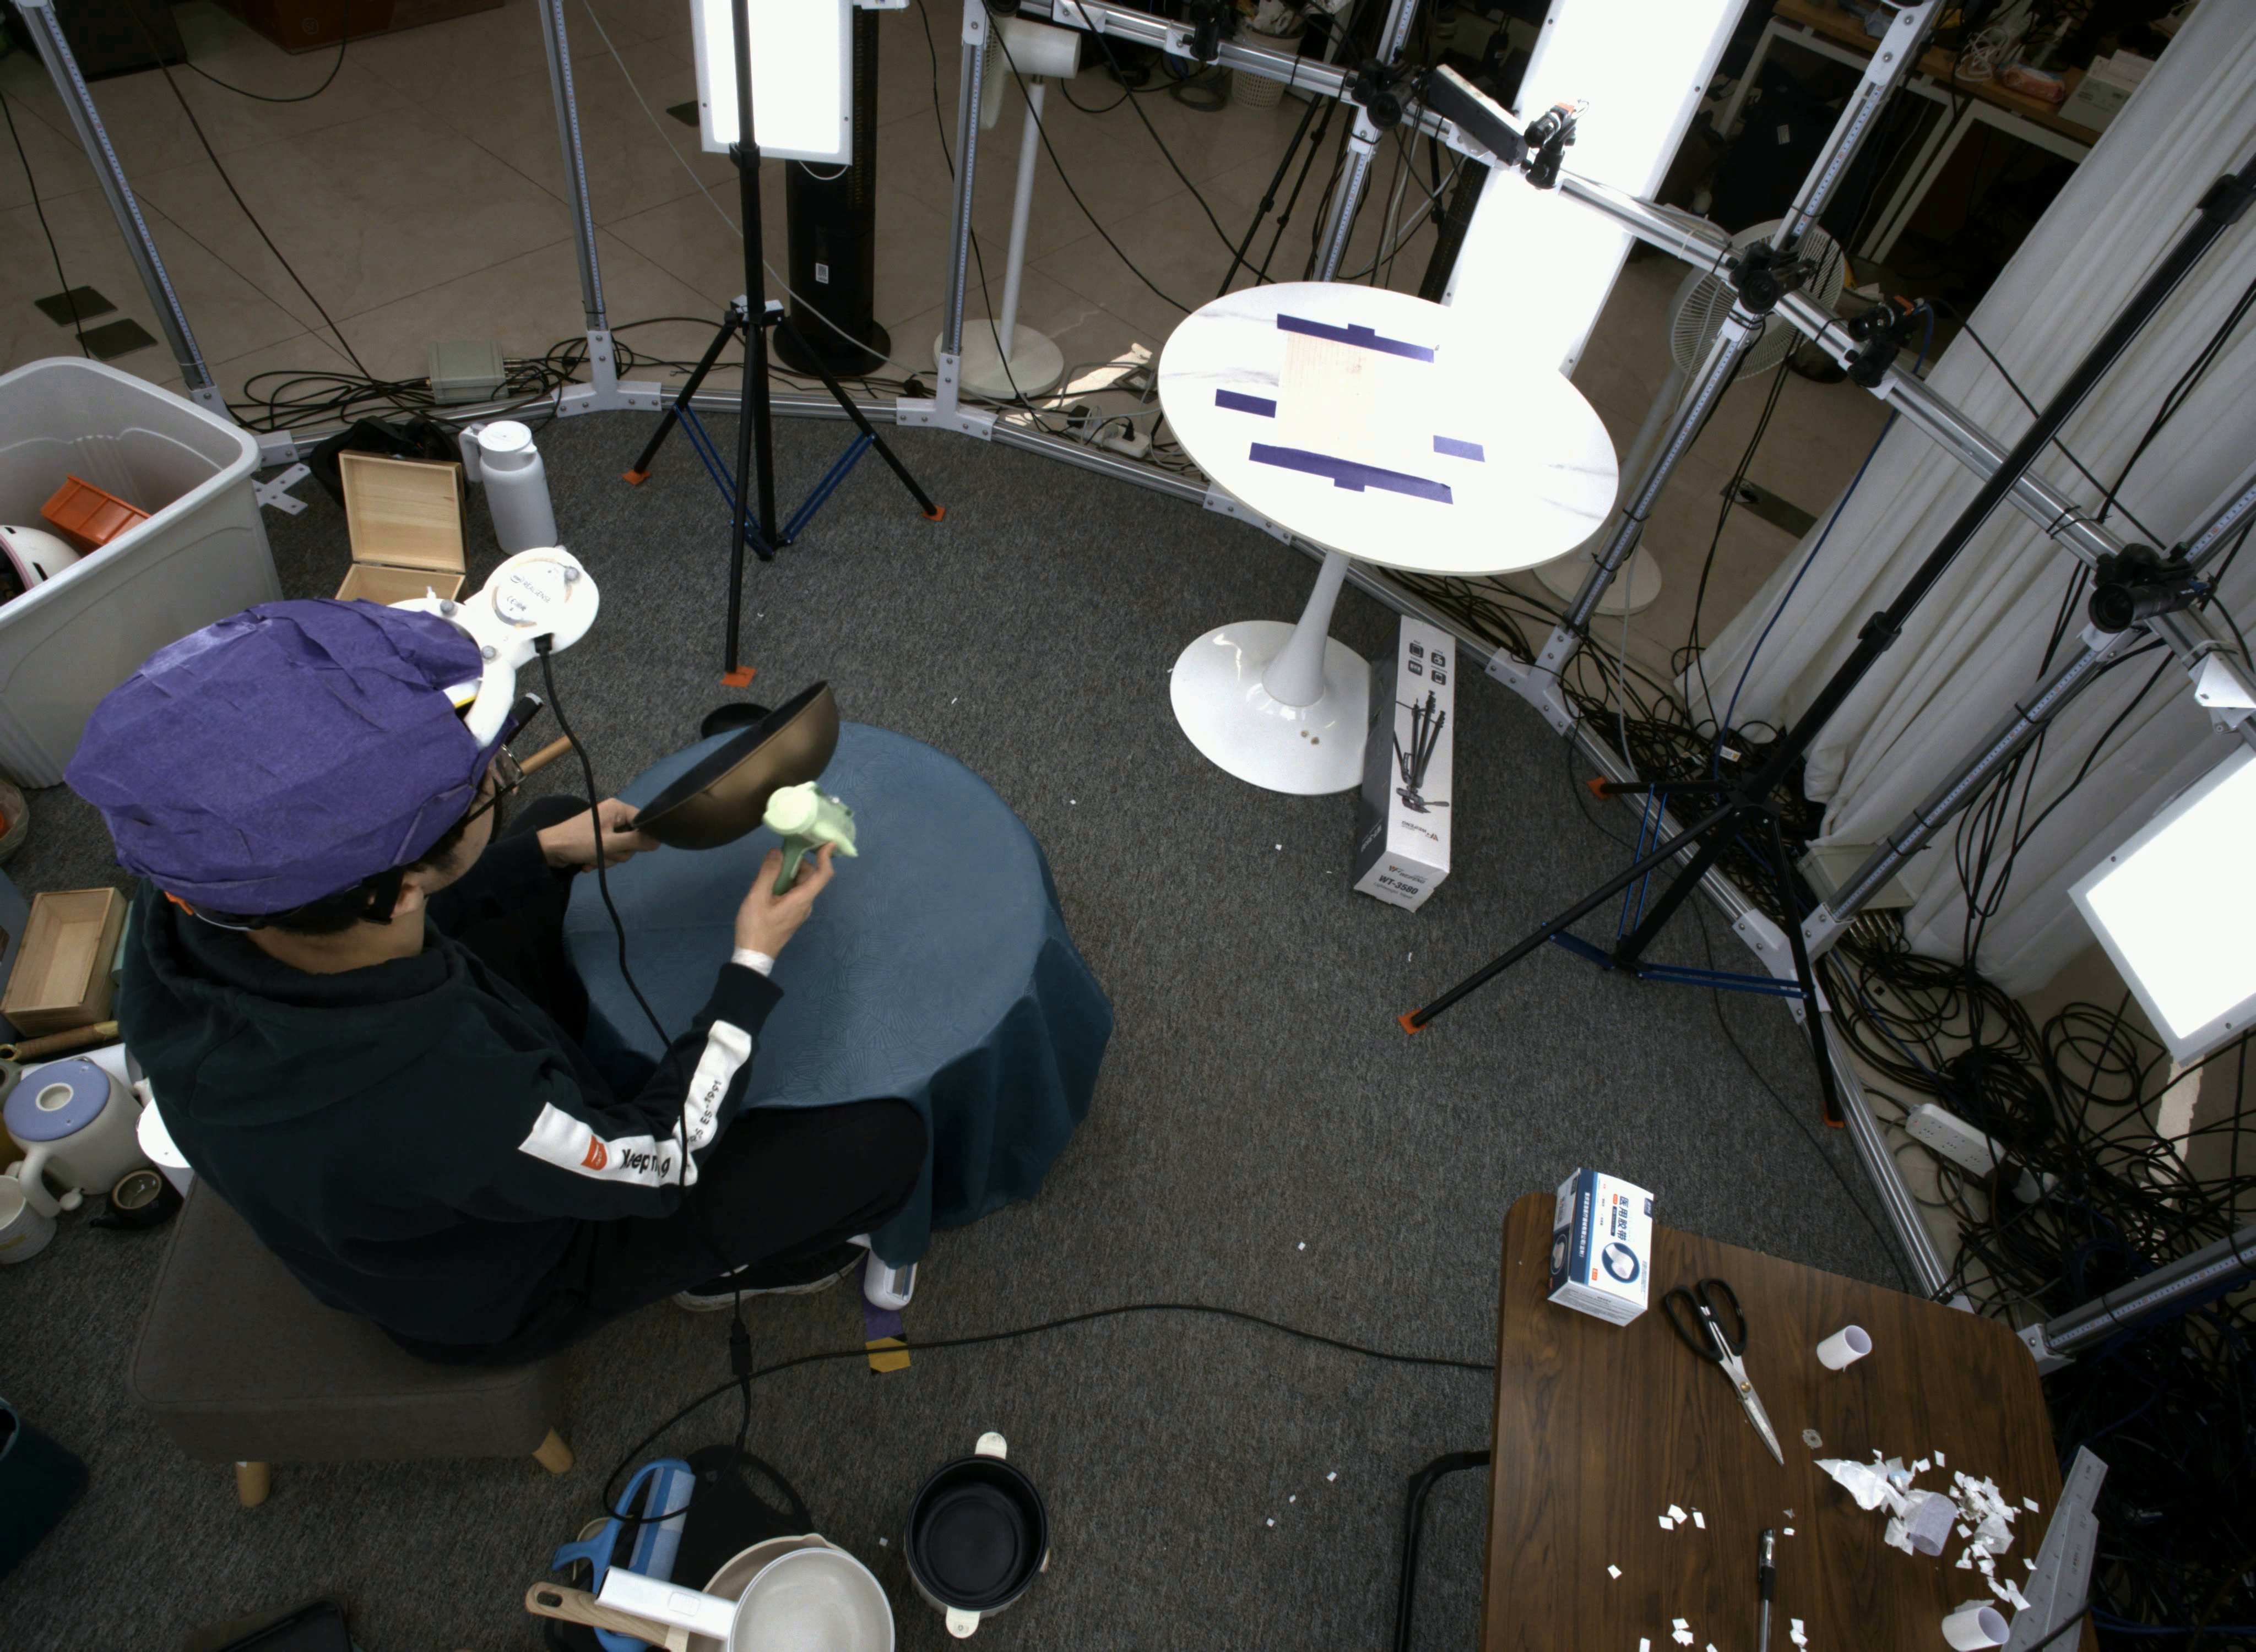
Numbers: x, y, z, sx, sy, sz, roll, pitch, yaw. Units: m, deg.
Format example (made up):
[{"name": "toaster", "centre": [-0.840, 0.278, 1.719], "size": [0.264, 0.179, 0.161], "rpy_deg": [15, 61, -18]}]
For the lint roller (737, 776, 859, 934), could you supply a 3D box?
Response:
[{"name": "lint roller", "centre": [-0.369, 0.045, 1.455], "size": [0.081, 0.200, 0.184], "rpy_deg": [21, 83, 5]}]

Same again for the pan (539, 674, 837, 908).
[{"name": "pan", "centre": [-0.511, -0.009, 1.495], "size": [0.460, 0.282, 0.089], "rpy_deg": [-34, 106, 6]}]
